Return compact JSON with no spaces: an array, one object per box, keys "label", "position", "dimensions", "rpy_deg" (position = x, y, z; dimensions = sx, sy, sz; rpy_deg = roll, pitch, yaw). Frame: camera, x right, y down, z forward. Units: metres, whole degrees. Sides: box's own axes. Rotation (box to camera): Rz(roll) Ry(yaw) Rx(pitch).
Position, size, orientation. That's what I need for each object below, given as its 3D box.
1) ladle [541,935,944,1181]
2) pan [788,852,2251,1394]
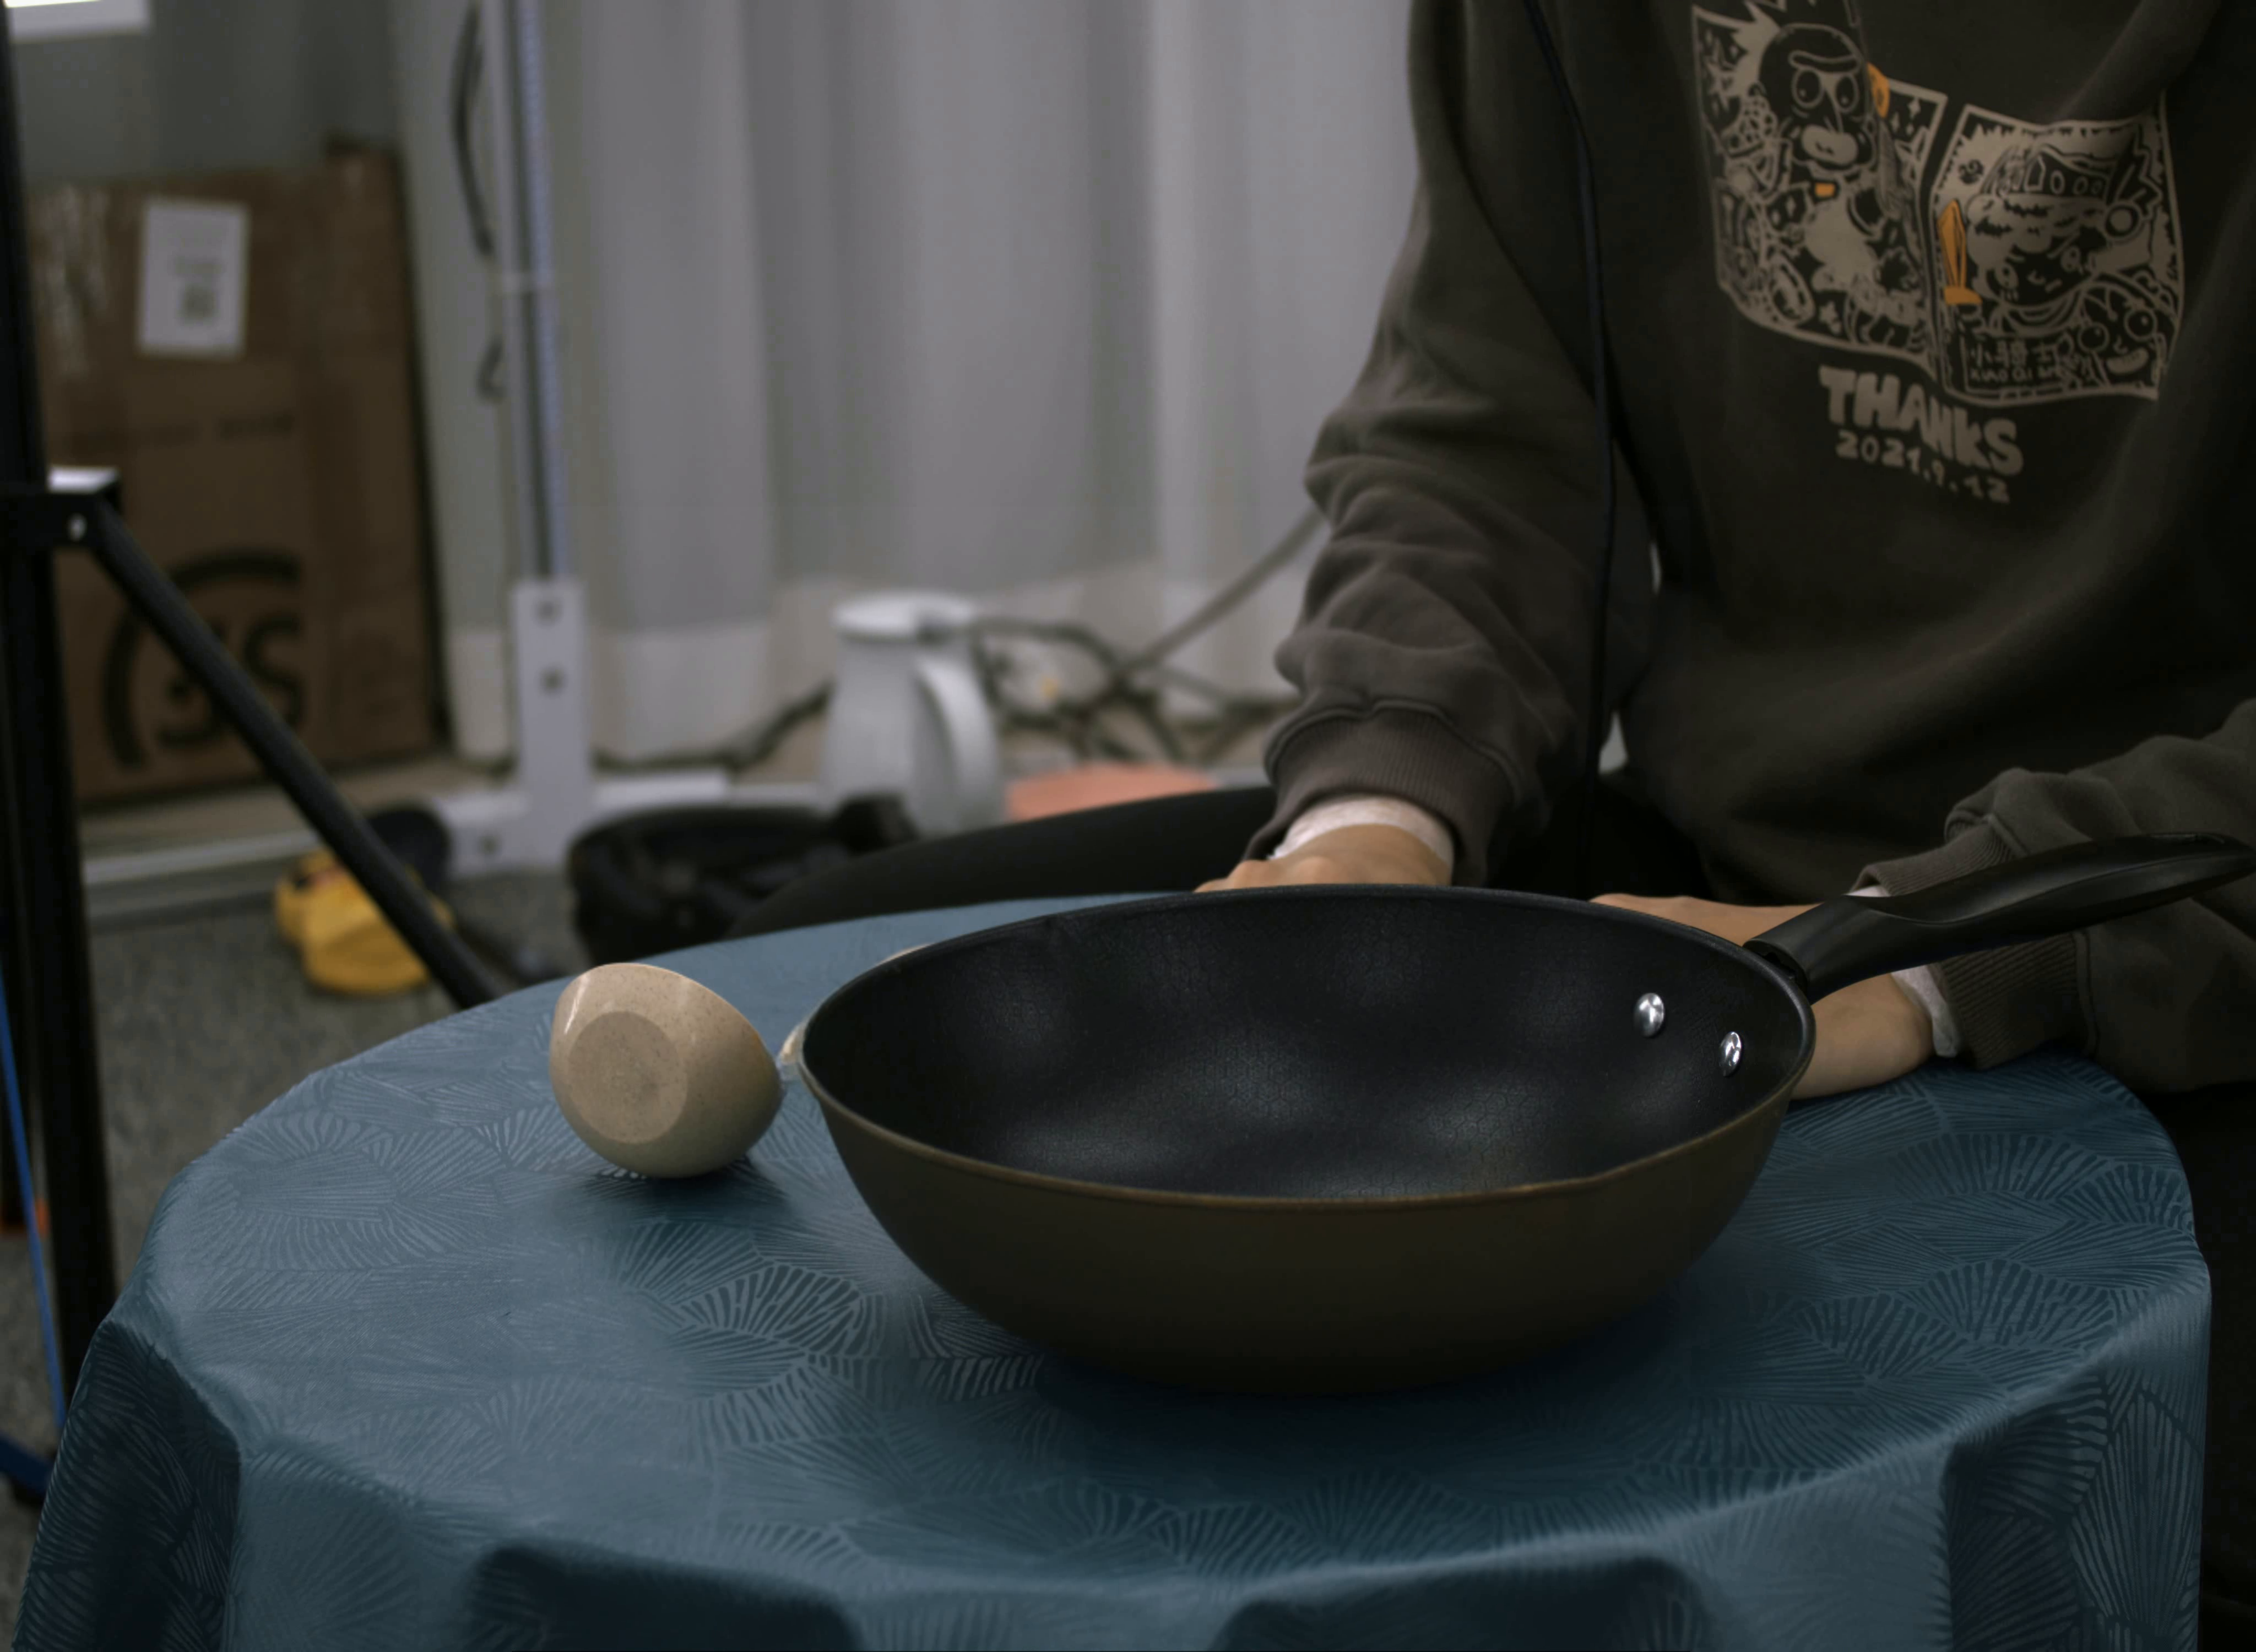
[{"label":"ladle","position":[-0.110,0.043,1.677],"dimensions":[0.073,0.073,0.252],"rpy_deg":[-3,16,20]},{"label":"pan","position":[0.127,0.077,1.497],"dimensions":[0.453,0.087,0.294],"rpy_deg":[-9,17,-25]}]
